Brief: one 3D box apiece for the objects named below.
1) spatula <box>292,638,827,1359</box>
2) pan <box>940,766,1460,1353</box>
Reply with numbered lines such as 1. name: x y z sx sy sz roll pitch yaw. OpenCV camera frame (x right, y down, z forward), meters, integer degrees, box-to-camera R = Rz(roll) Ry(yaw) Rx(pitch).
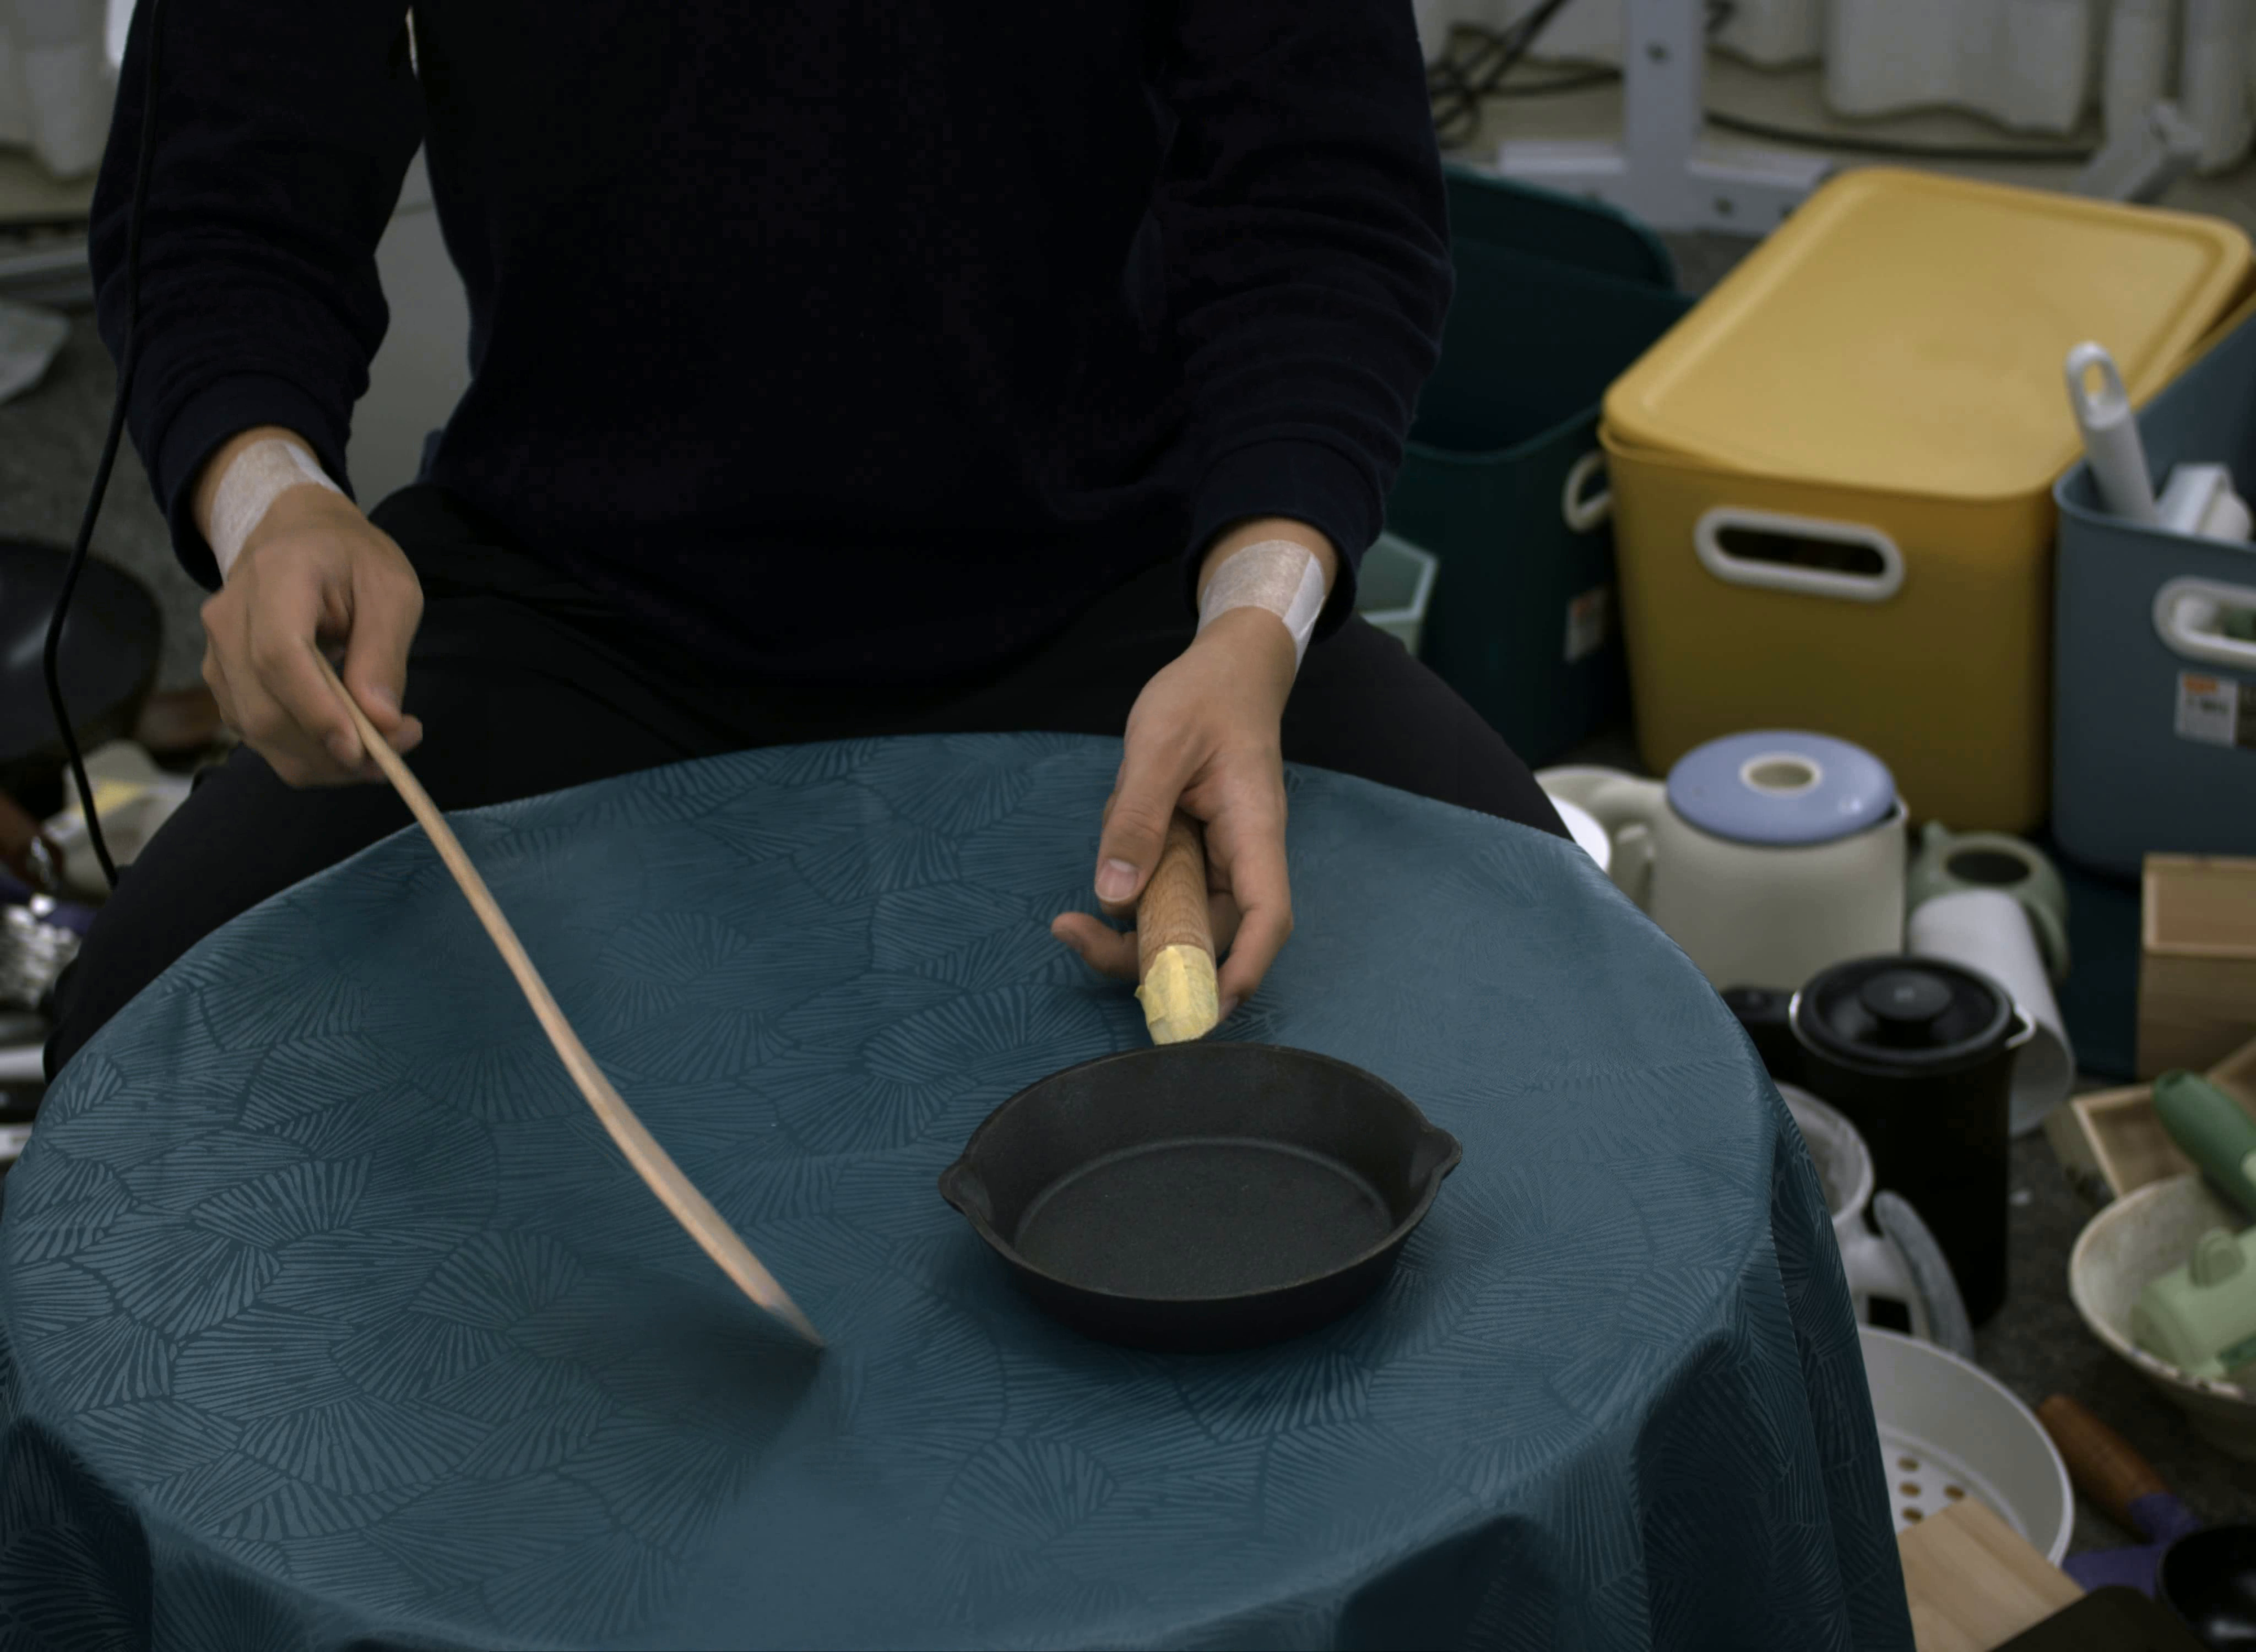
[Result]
1. spatula: -0.189 0.053 1.822 0.016 0.079 0.330 -37 61 0
2. pan: 0.022 0.076 1.893 0.168 0.049 0.329 -3 29 0
